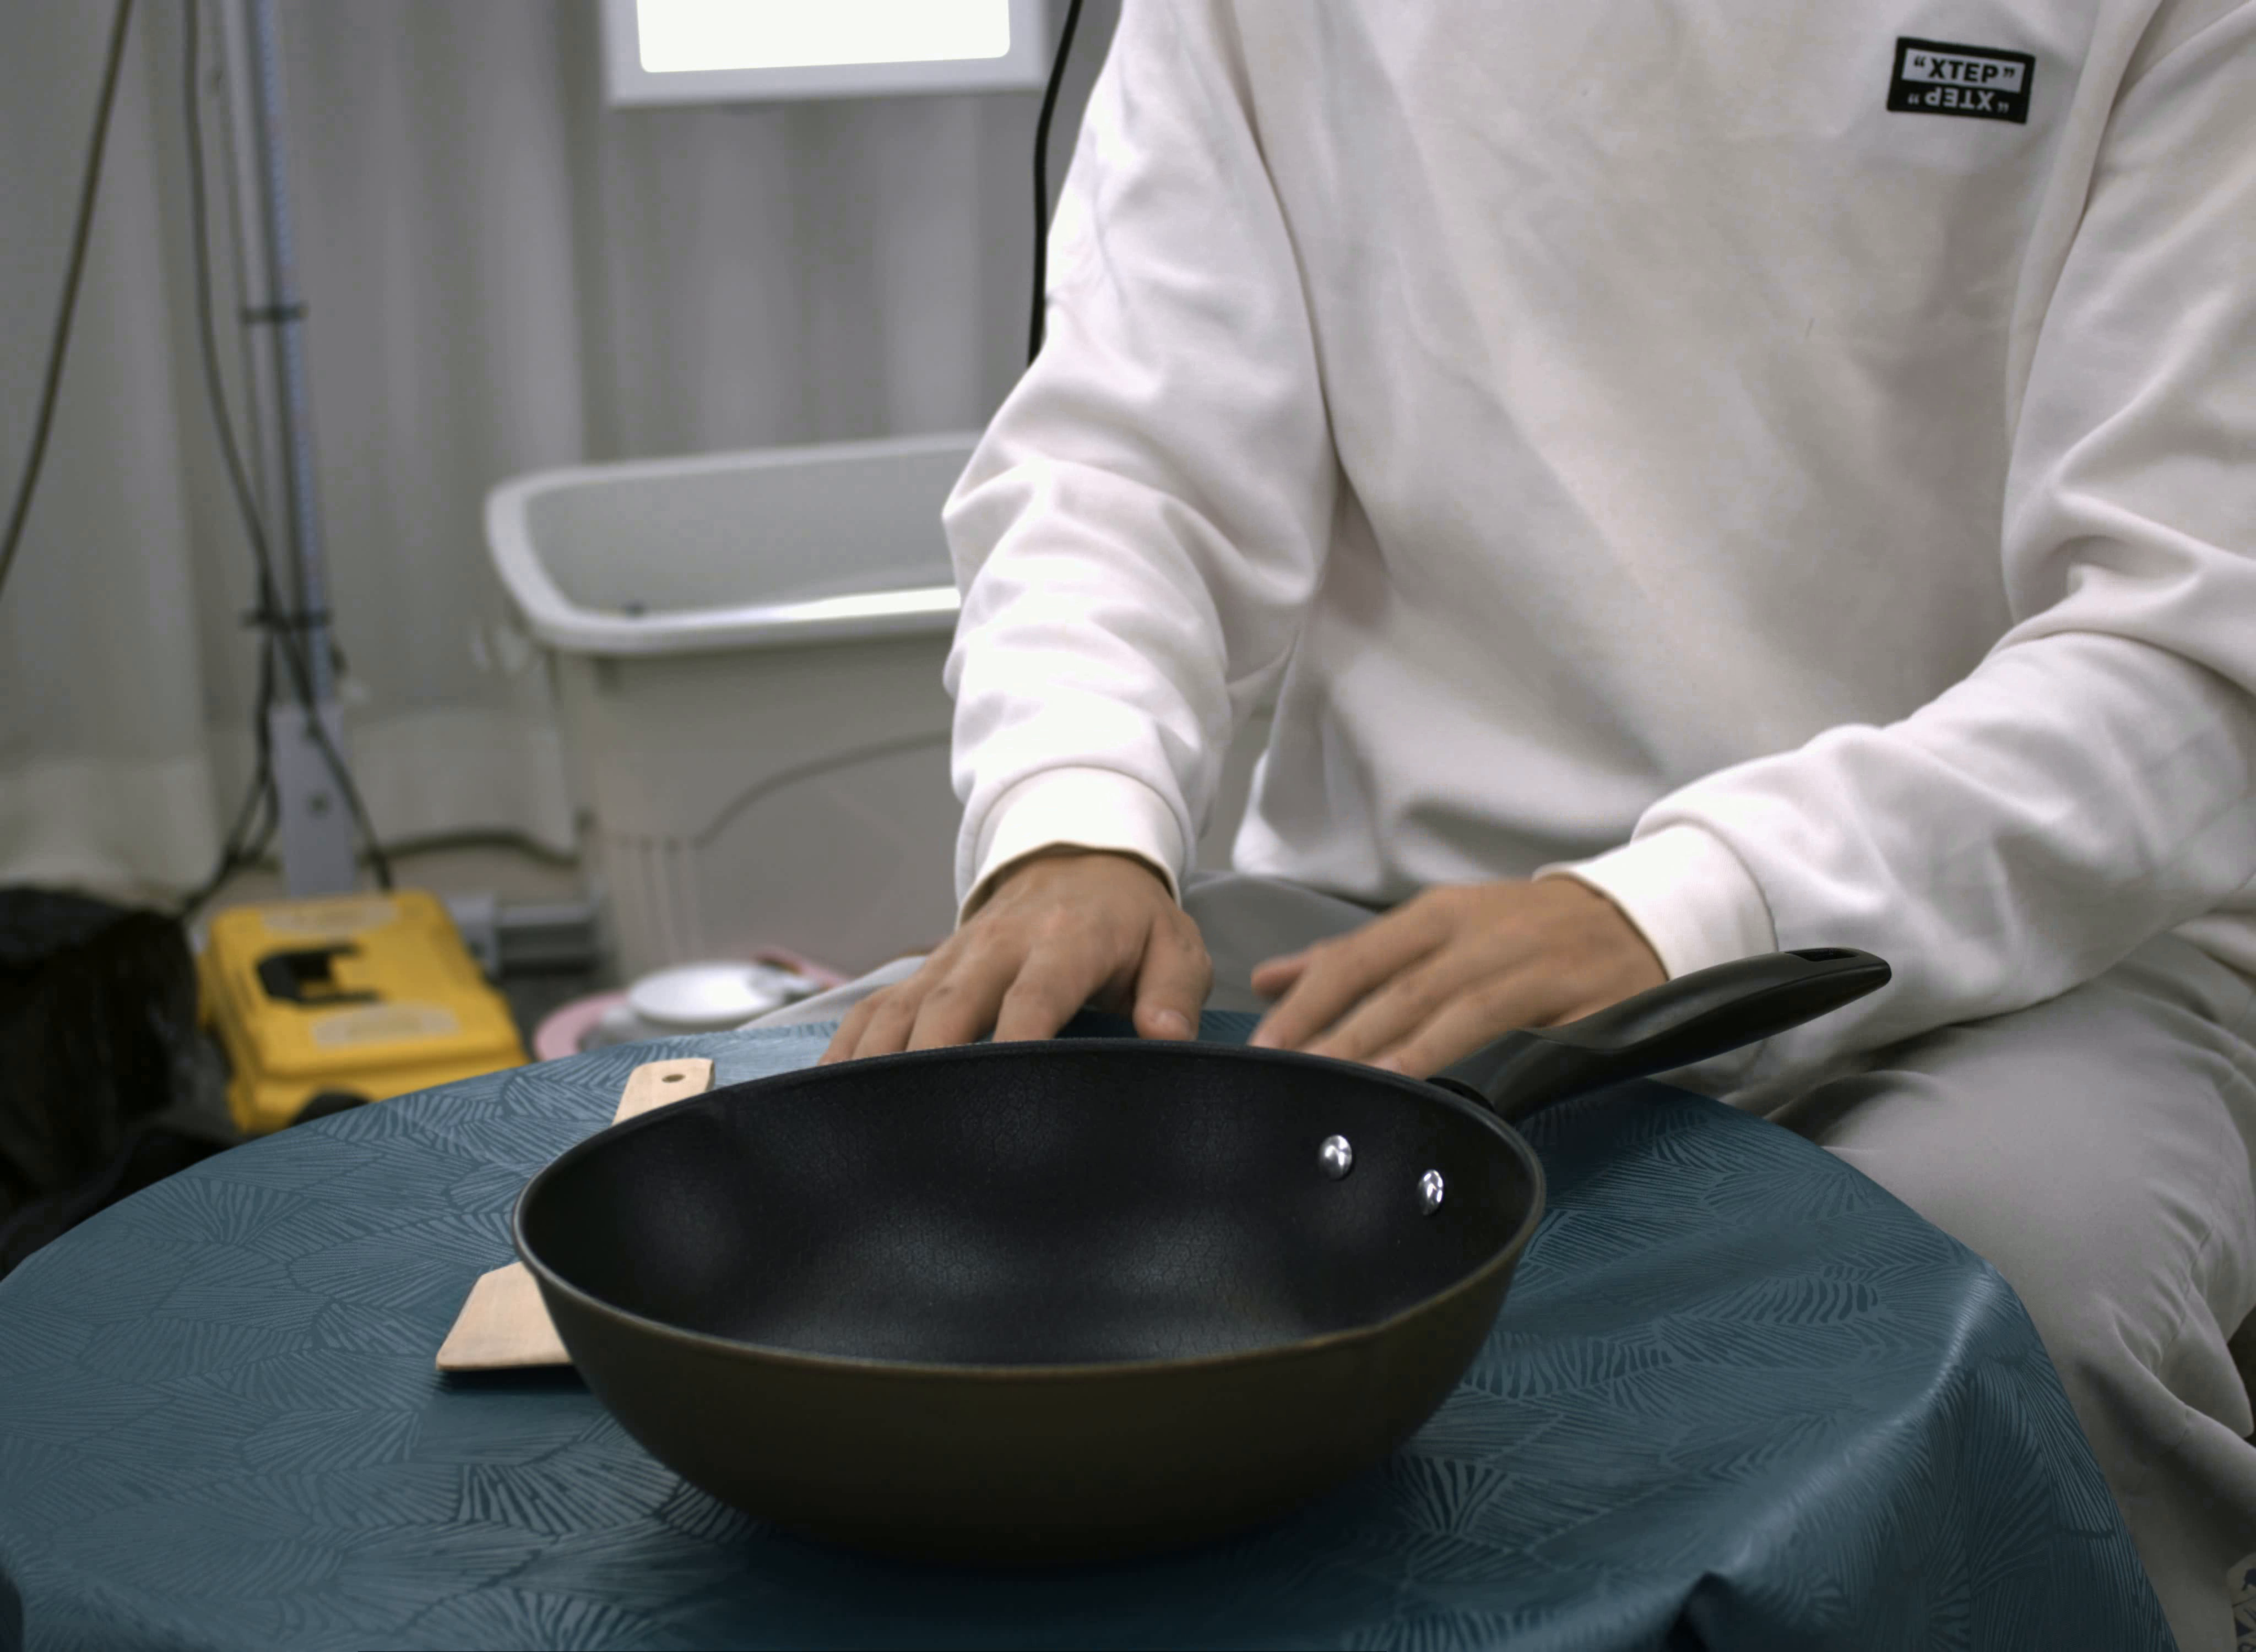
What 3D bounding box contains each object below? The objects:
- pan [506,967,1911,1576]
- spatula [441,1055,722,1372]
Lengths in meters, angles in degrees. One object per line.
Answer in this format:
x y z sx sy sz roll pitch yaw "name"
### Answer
0.045 0.119 1.536 0.462 0.086 0.290 -13 18 -37 "pan"
-0.158 0.119 1.713 0.072 0.010 0.295 -3 15 3 "spatula"
